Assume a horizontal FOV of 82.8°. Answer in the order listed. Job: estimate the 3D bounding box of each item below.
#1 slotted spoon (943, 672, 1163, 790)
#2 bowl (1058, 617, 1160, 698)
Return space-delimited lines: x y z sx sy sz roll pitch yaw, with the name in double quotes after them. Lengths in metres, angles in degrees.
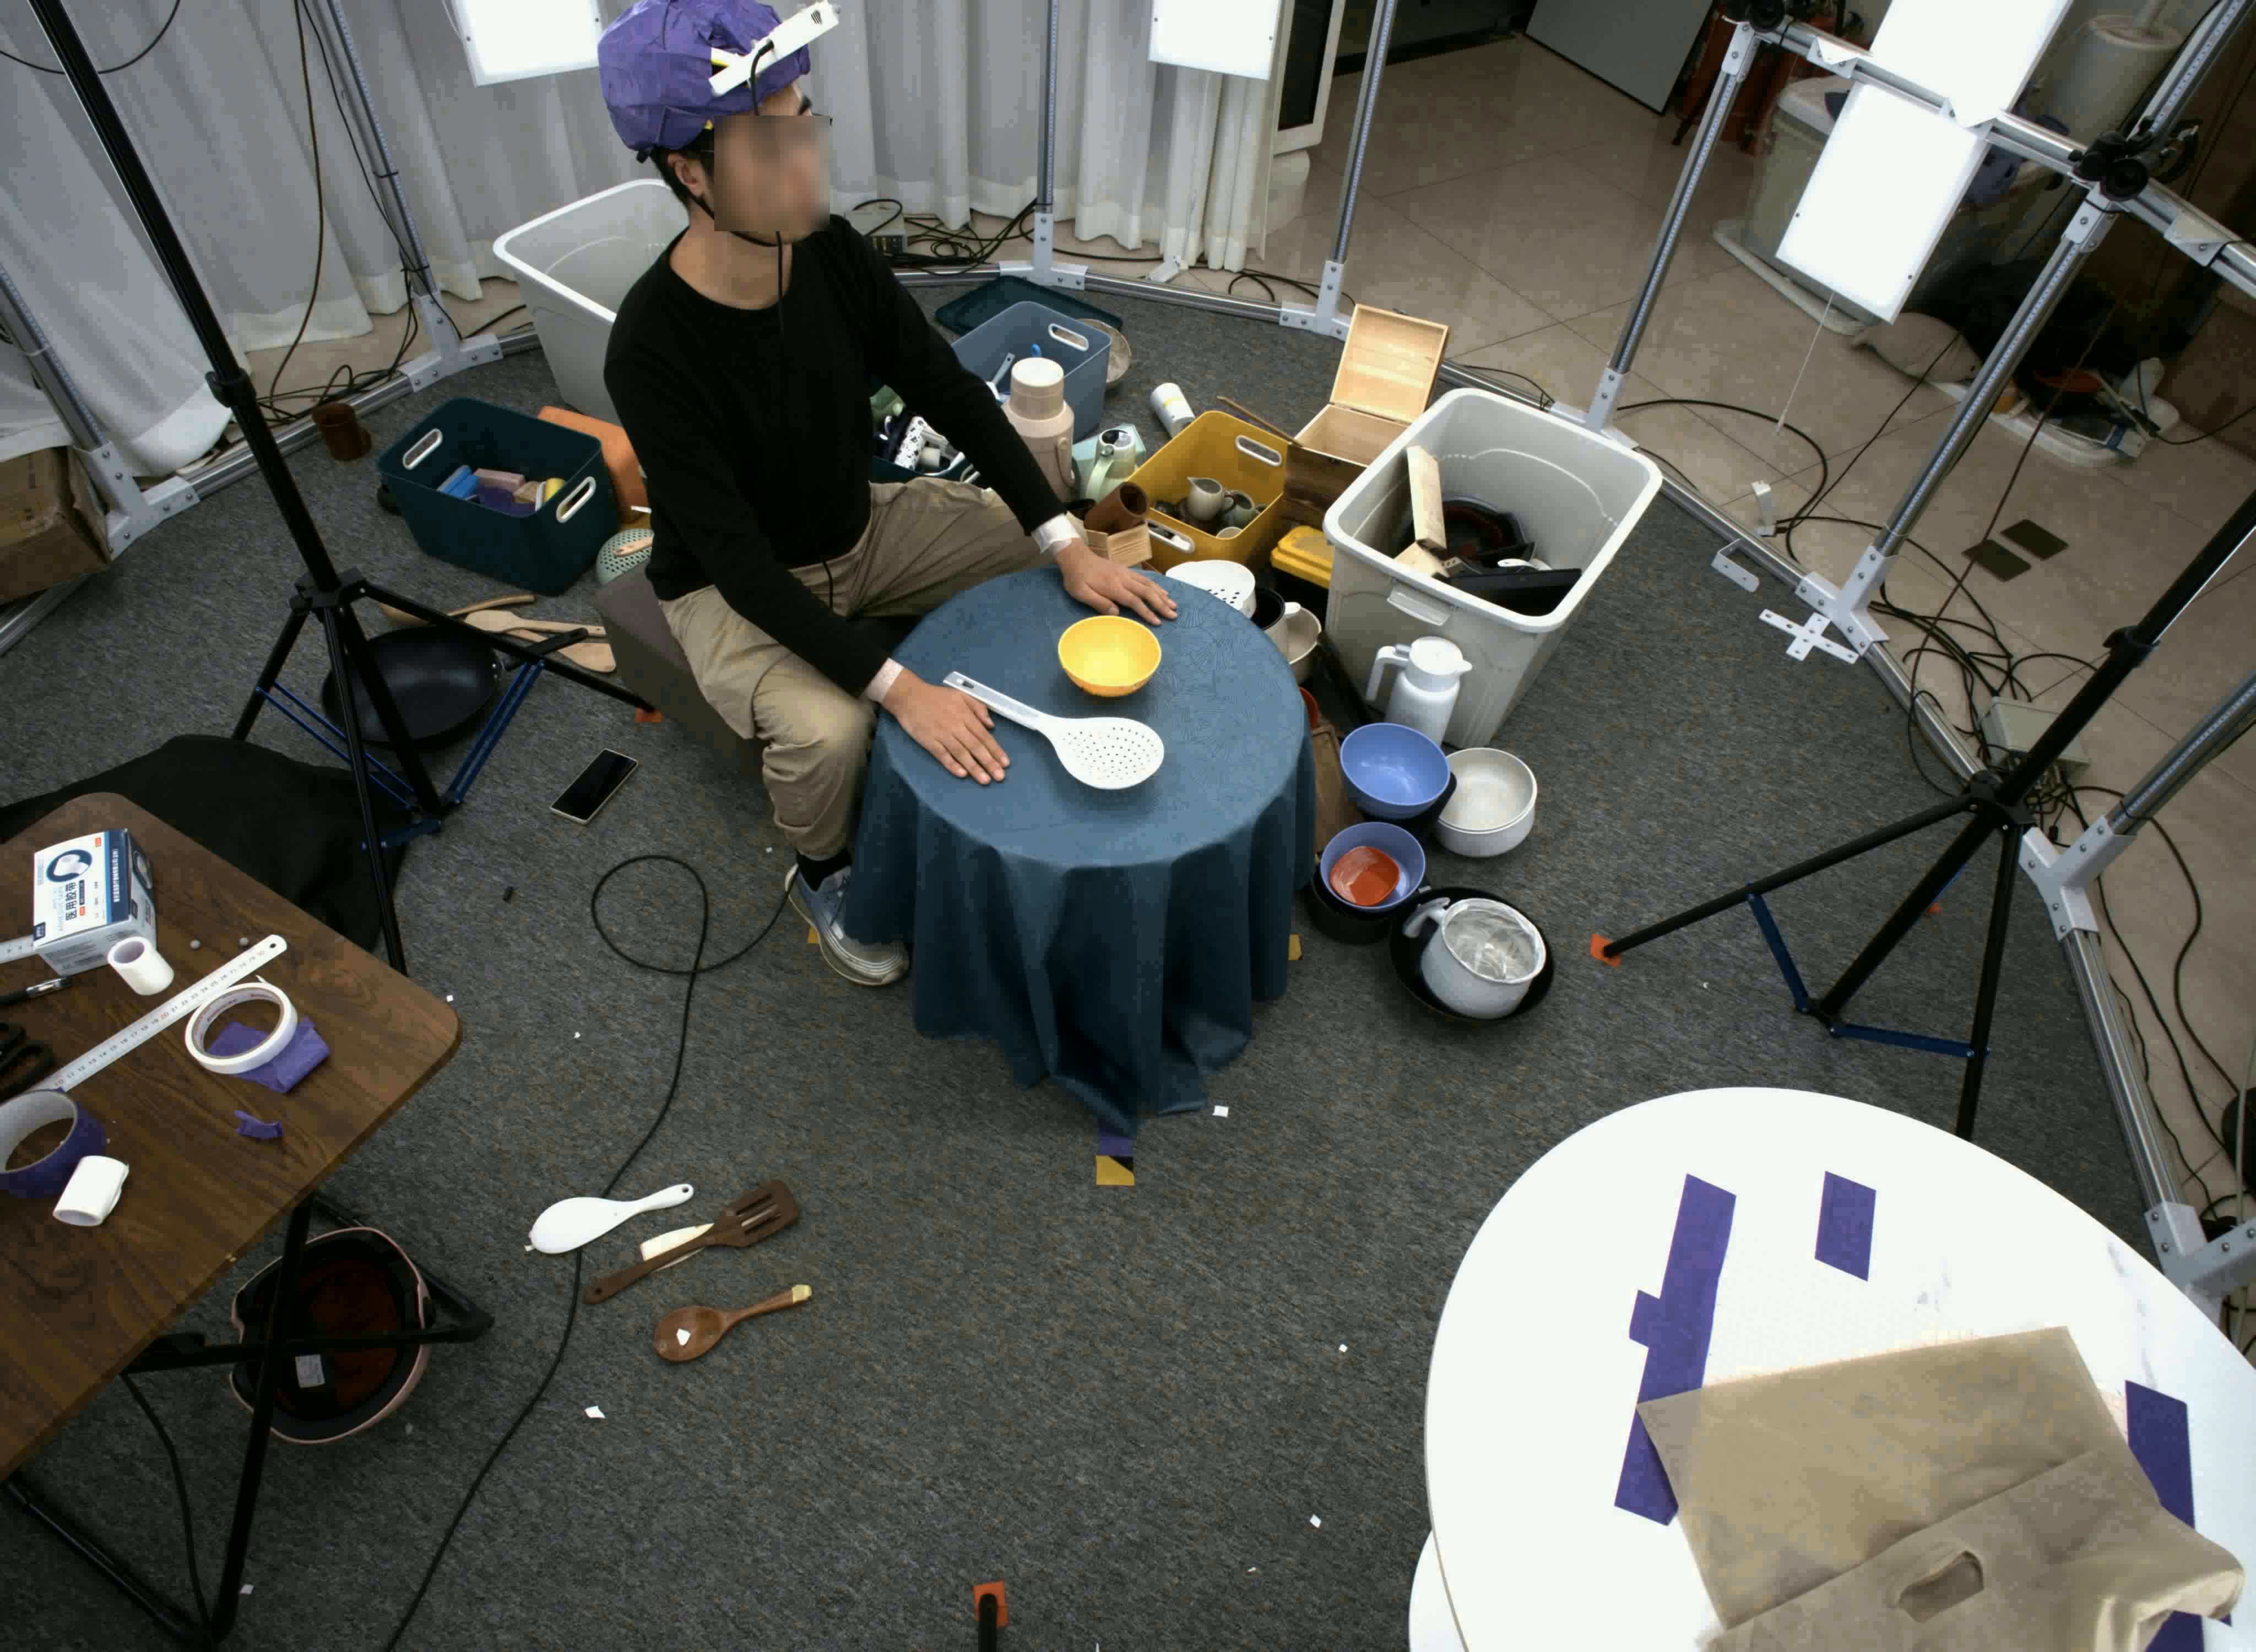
-0.111 -0.137 1.752 0.353 0.044 0.138 29 52 21 "slotted spoon"
-0.029 -0.229 1.830 0.145 0.058 0.149 3 48 -4 "bowl"
